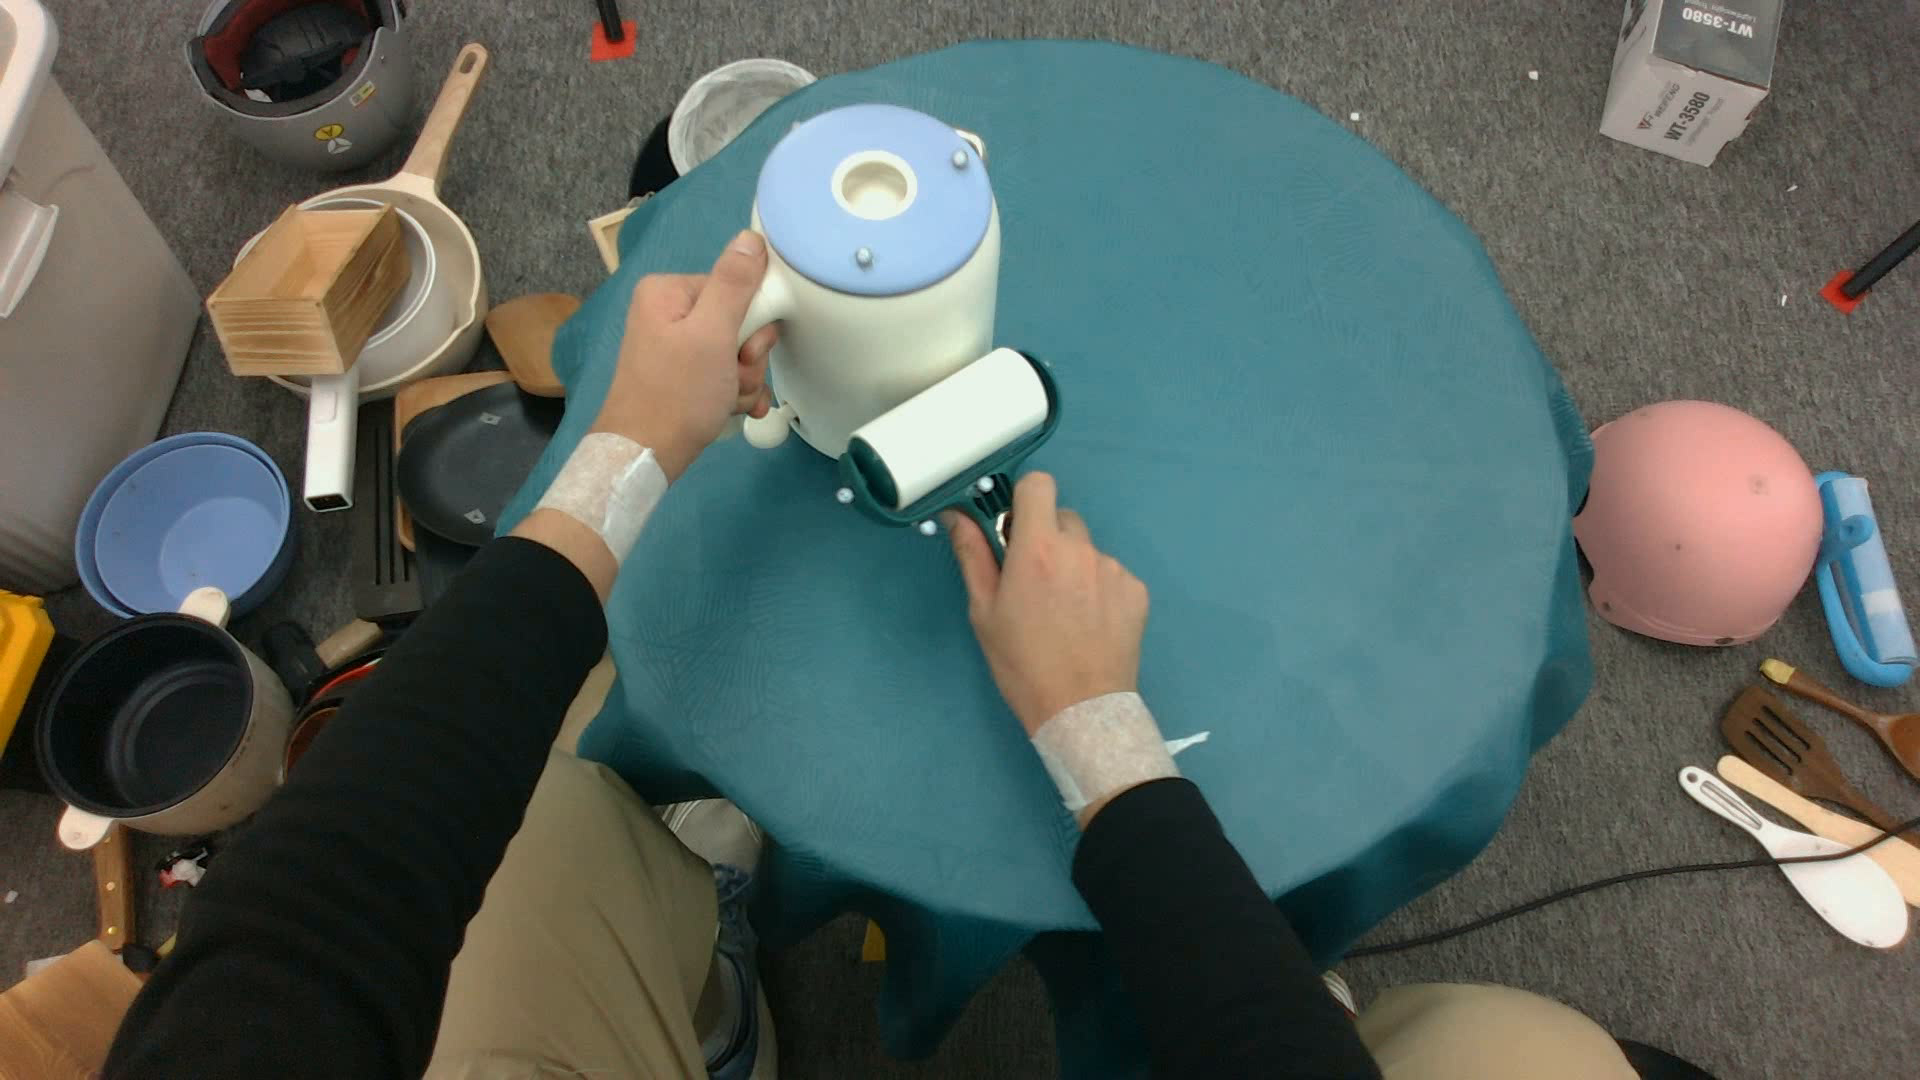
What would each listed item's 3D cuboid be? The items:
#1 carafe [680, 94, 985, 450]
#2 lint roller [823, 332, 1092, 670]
[{"bbox_3d":[-0.073,-0.128,0.755,0.191,0.182,0.132,-37,71,-17],"label":"carafe"},{"bbox_3d":[0.024,-0.010,0.724,0.135,0.048,0.180,-34,92,-23],"label":"lint roller"}]
